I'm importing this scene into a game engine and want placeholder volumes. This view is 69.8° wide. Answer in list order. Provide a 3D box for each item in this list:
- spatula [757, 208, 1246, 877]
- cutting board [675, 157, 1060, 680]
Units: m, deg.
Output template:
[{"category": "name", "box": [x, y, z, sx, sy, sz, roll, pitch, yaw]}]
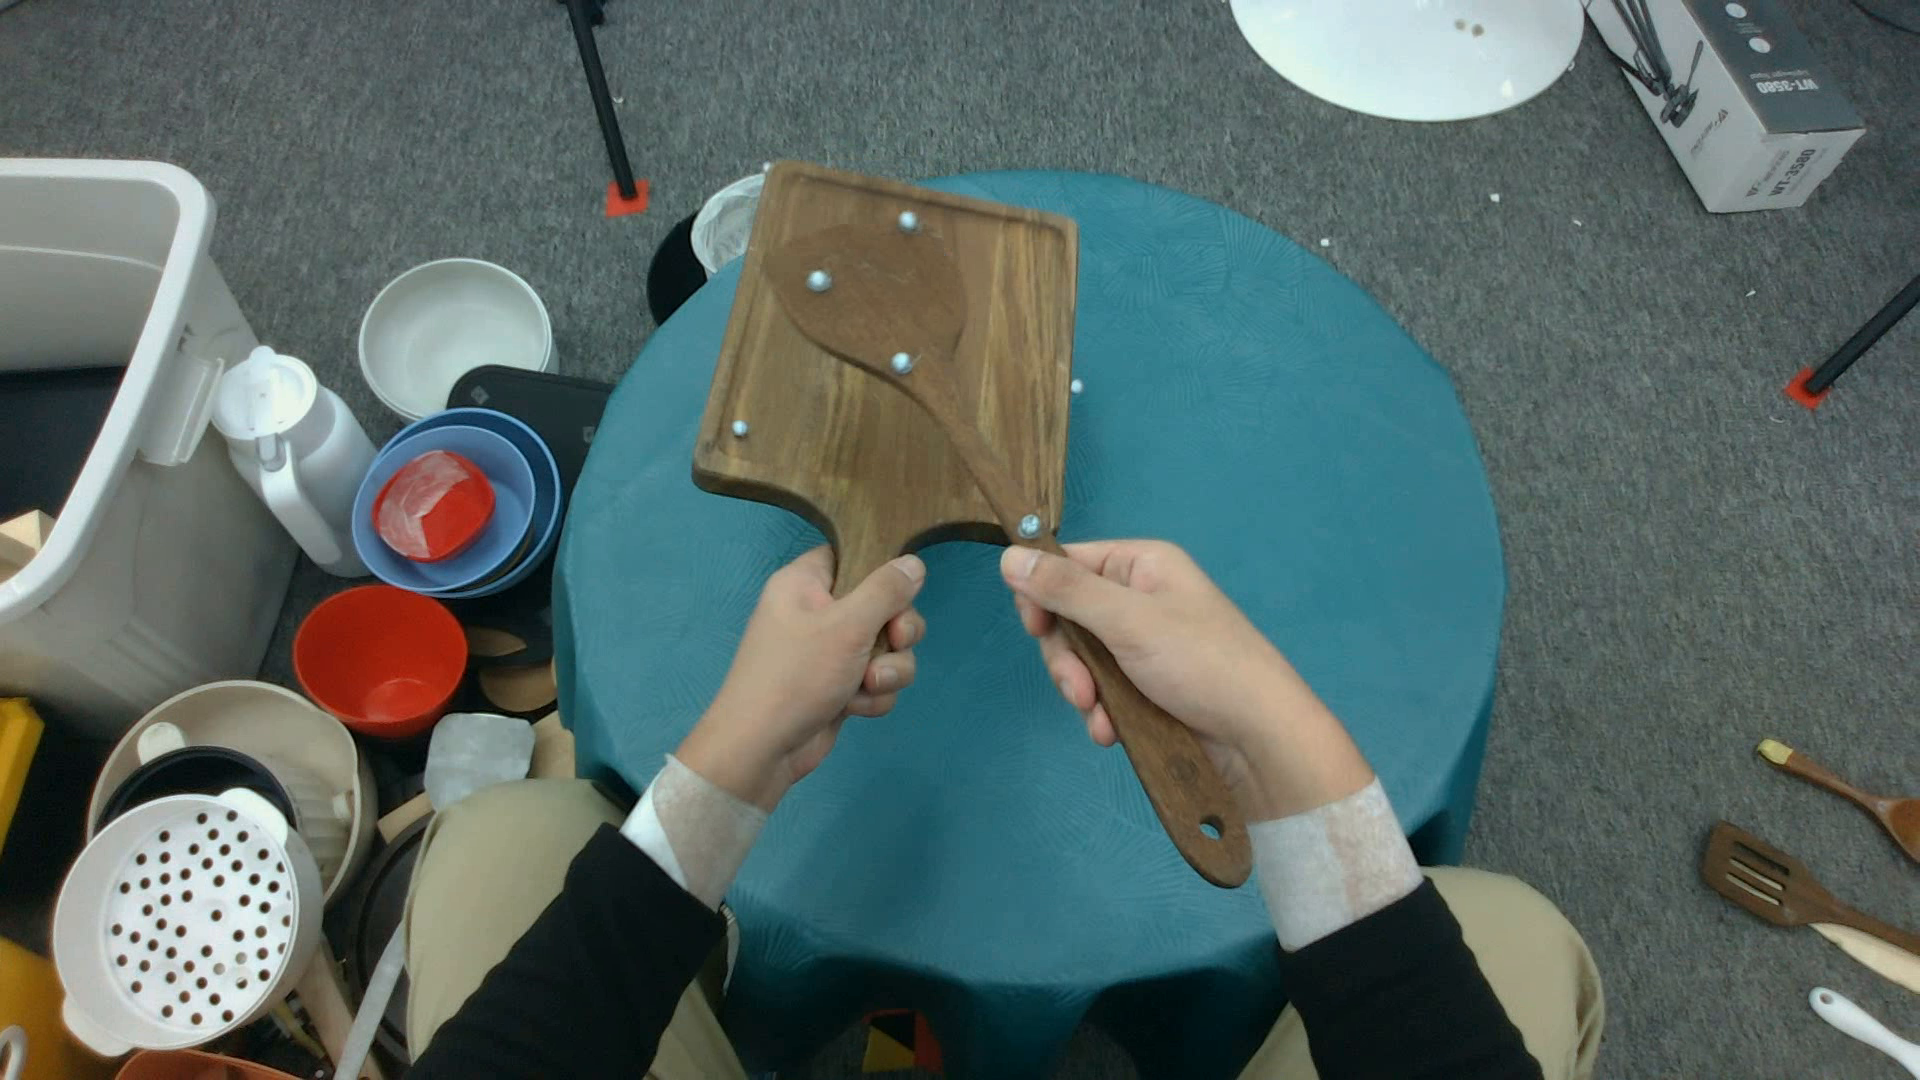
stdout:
[{"category": "spatula", "box": [0.017, -0.021, 0.607, 0.096, 0.015, 0.387, -17, 56, -21]}, {"category": "cutting board", "box": [-0.046, -0.079, 0.758, 0.201, 0.023, 0.354, 10, 53, -6]}]
